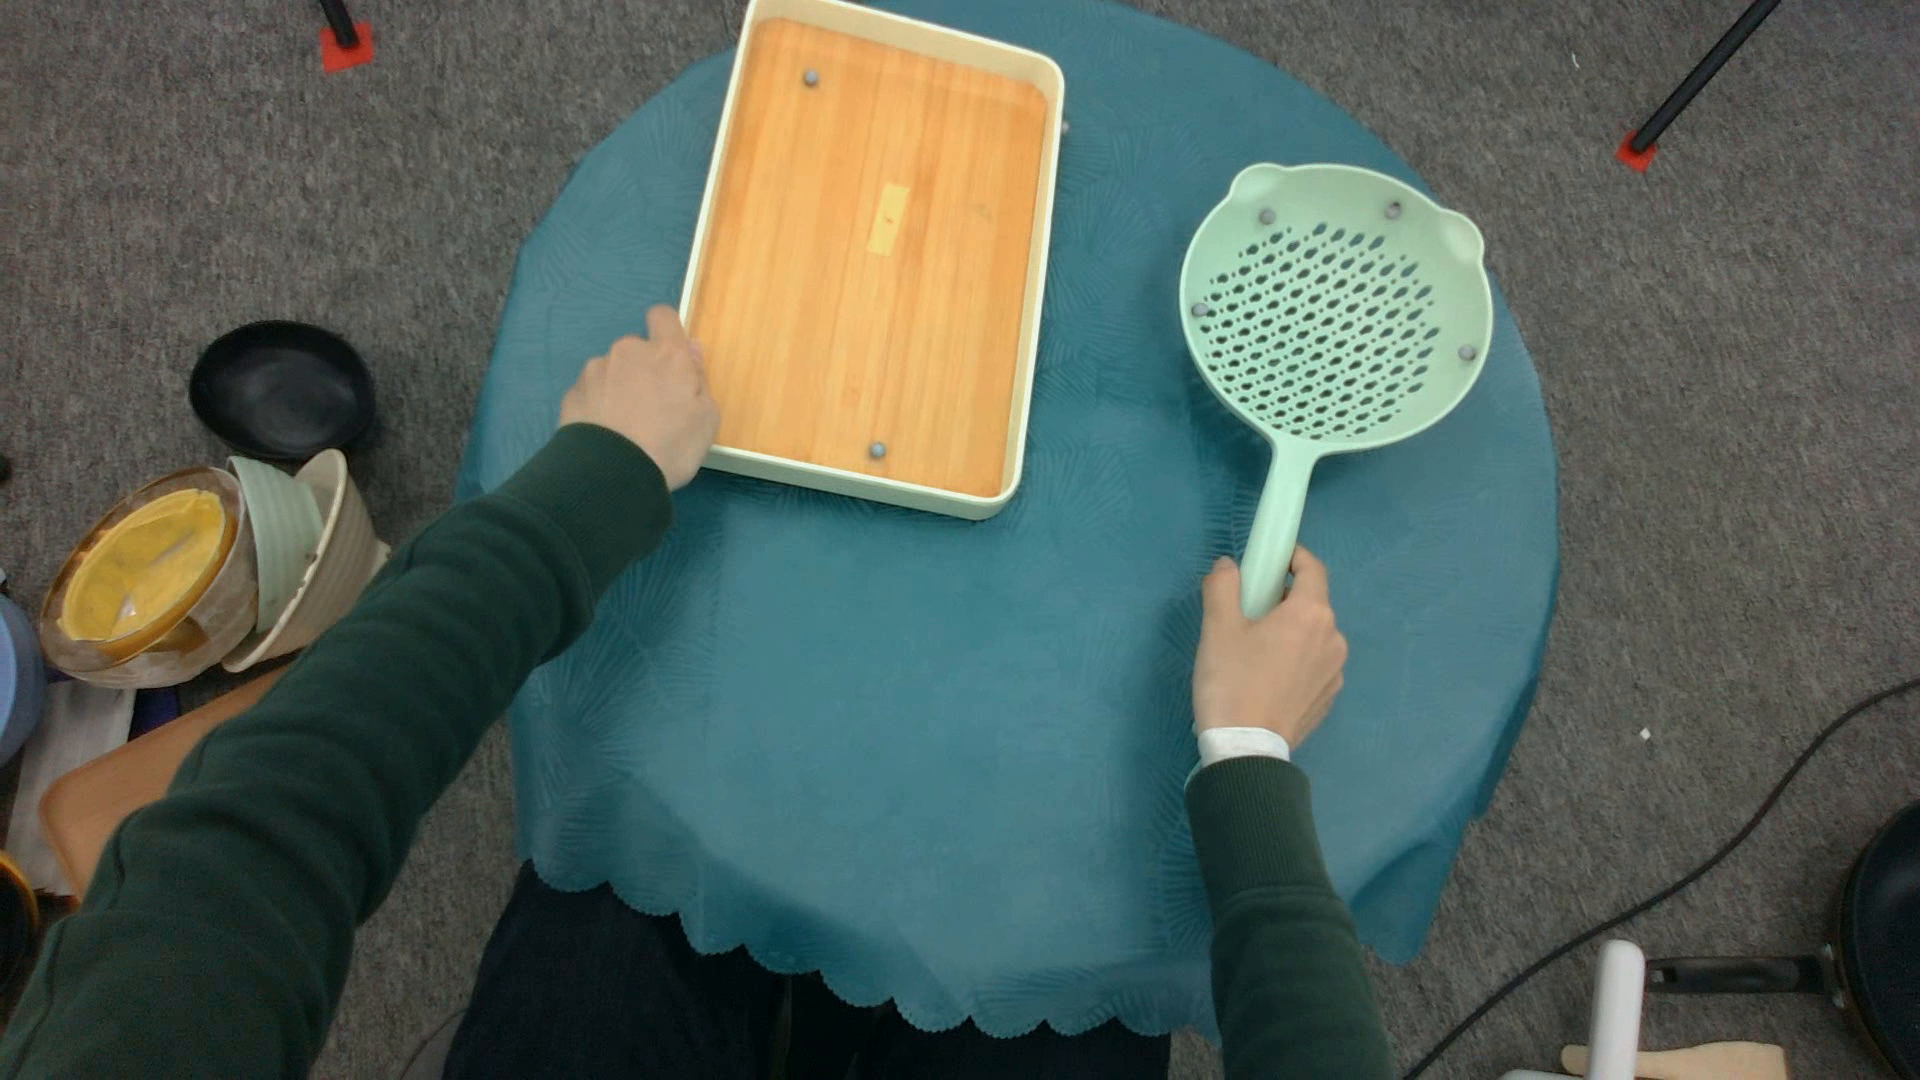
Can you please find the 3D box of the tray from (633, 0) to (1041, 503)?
[{"bbox_3d":[-0.060,-0.174,0.768,0.192,0.027,0.301,11,67,-9],"label":"tray"}]

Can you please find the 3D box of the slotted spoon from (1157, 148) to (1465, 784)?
[{"bbox_3d":[0.164,-0.047,0.735,0.169,0.075,0.360,16,65,4],"label":"slotted spoon"}]
